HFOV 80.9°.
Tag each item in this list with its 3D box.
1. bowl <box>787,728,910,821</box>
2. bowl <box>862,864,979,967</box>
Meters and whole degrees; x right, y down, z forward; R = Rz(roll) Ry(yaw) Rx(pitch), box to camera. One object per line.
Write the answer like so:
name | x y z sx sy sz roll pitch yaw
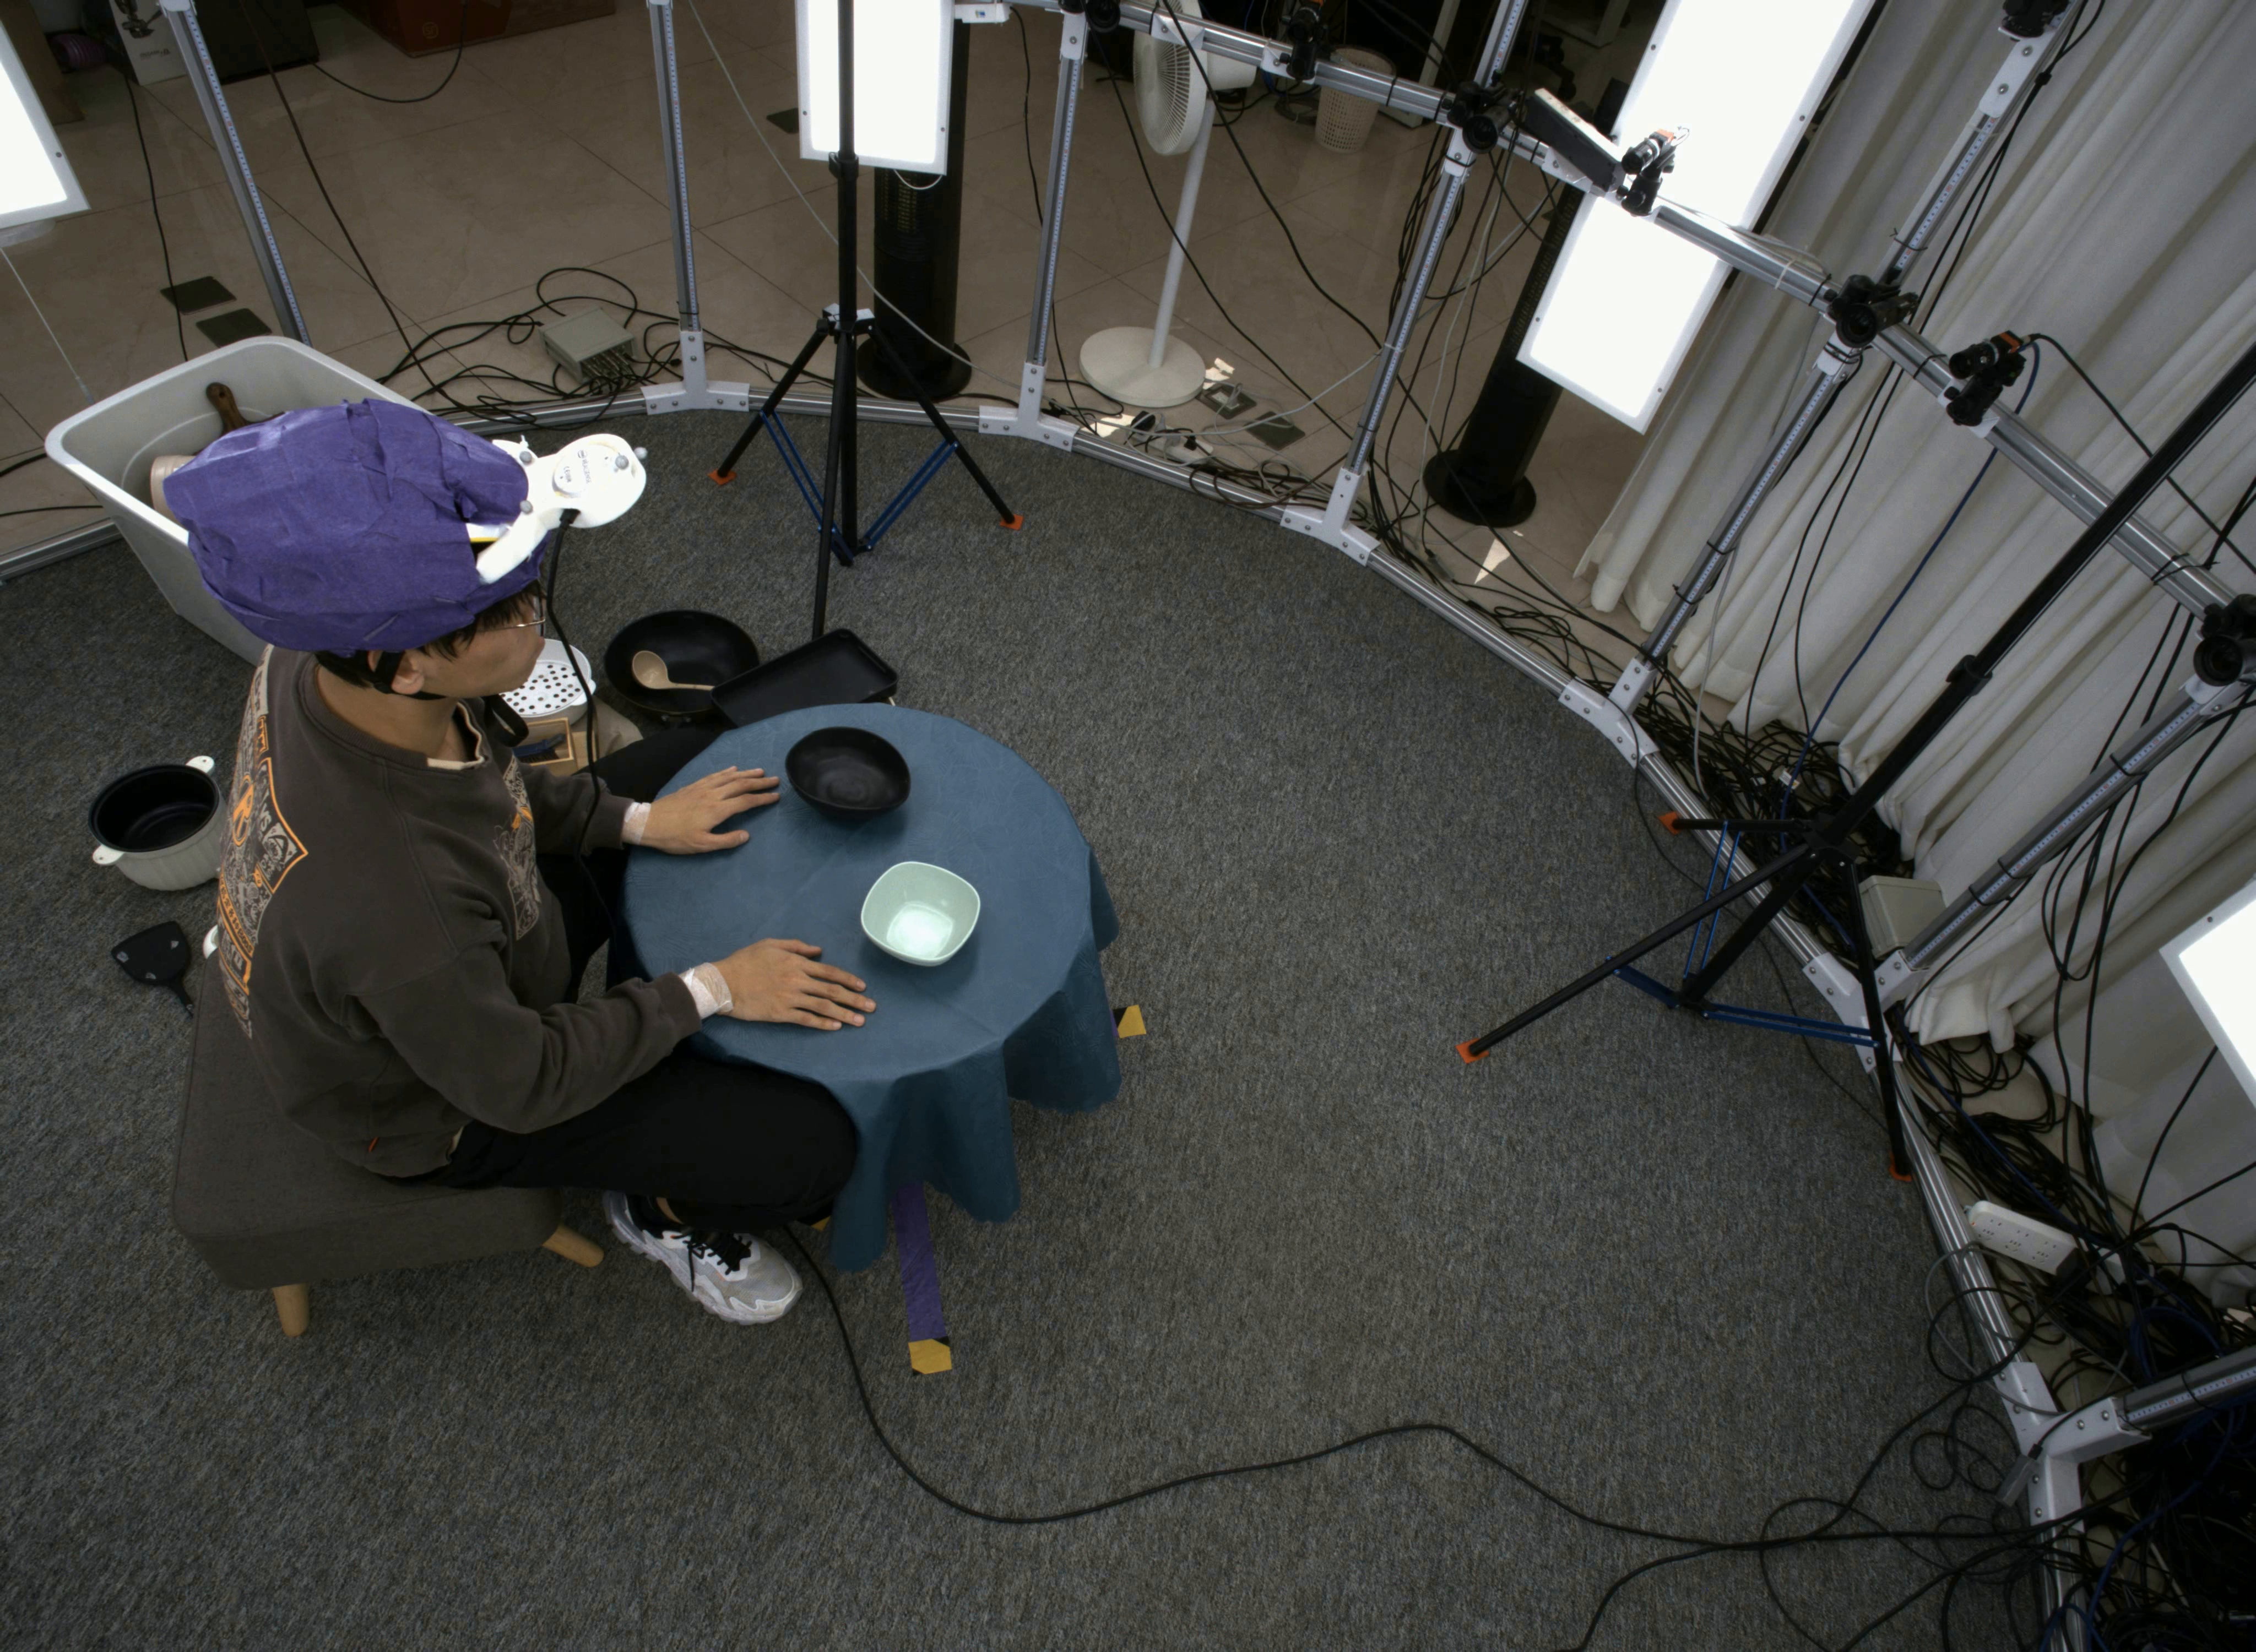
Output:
bowl | -0.376 -0.059 1.753 0.169 0.068 0.136 18 52 -1
bowl | -0.263 0.122 1.651 0.151 0.060 0.148 8 51 -8
